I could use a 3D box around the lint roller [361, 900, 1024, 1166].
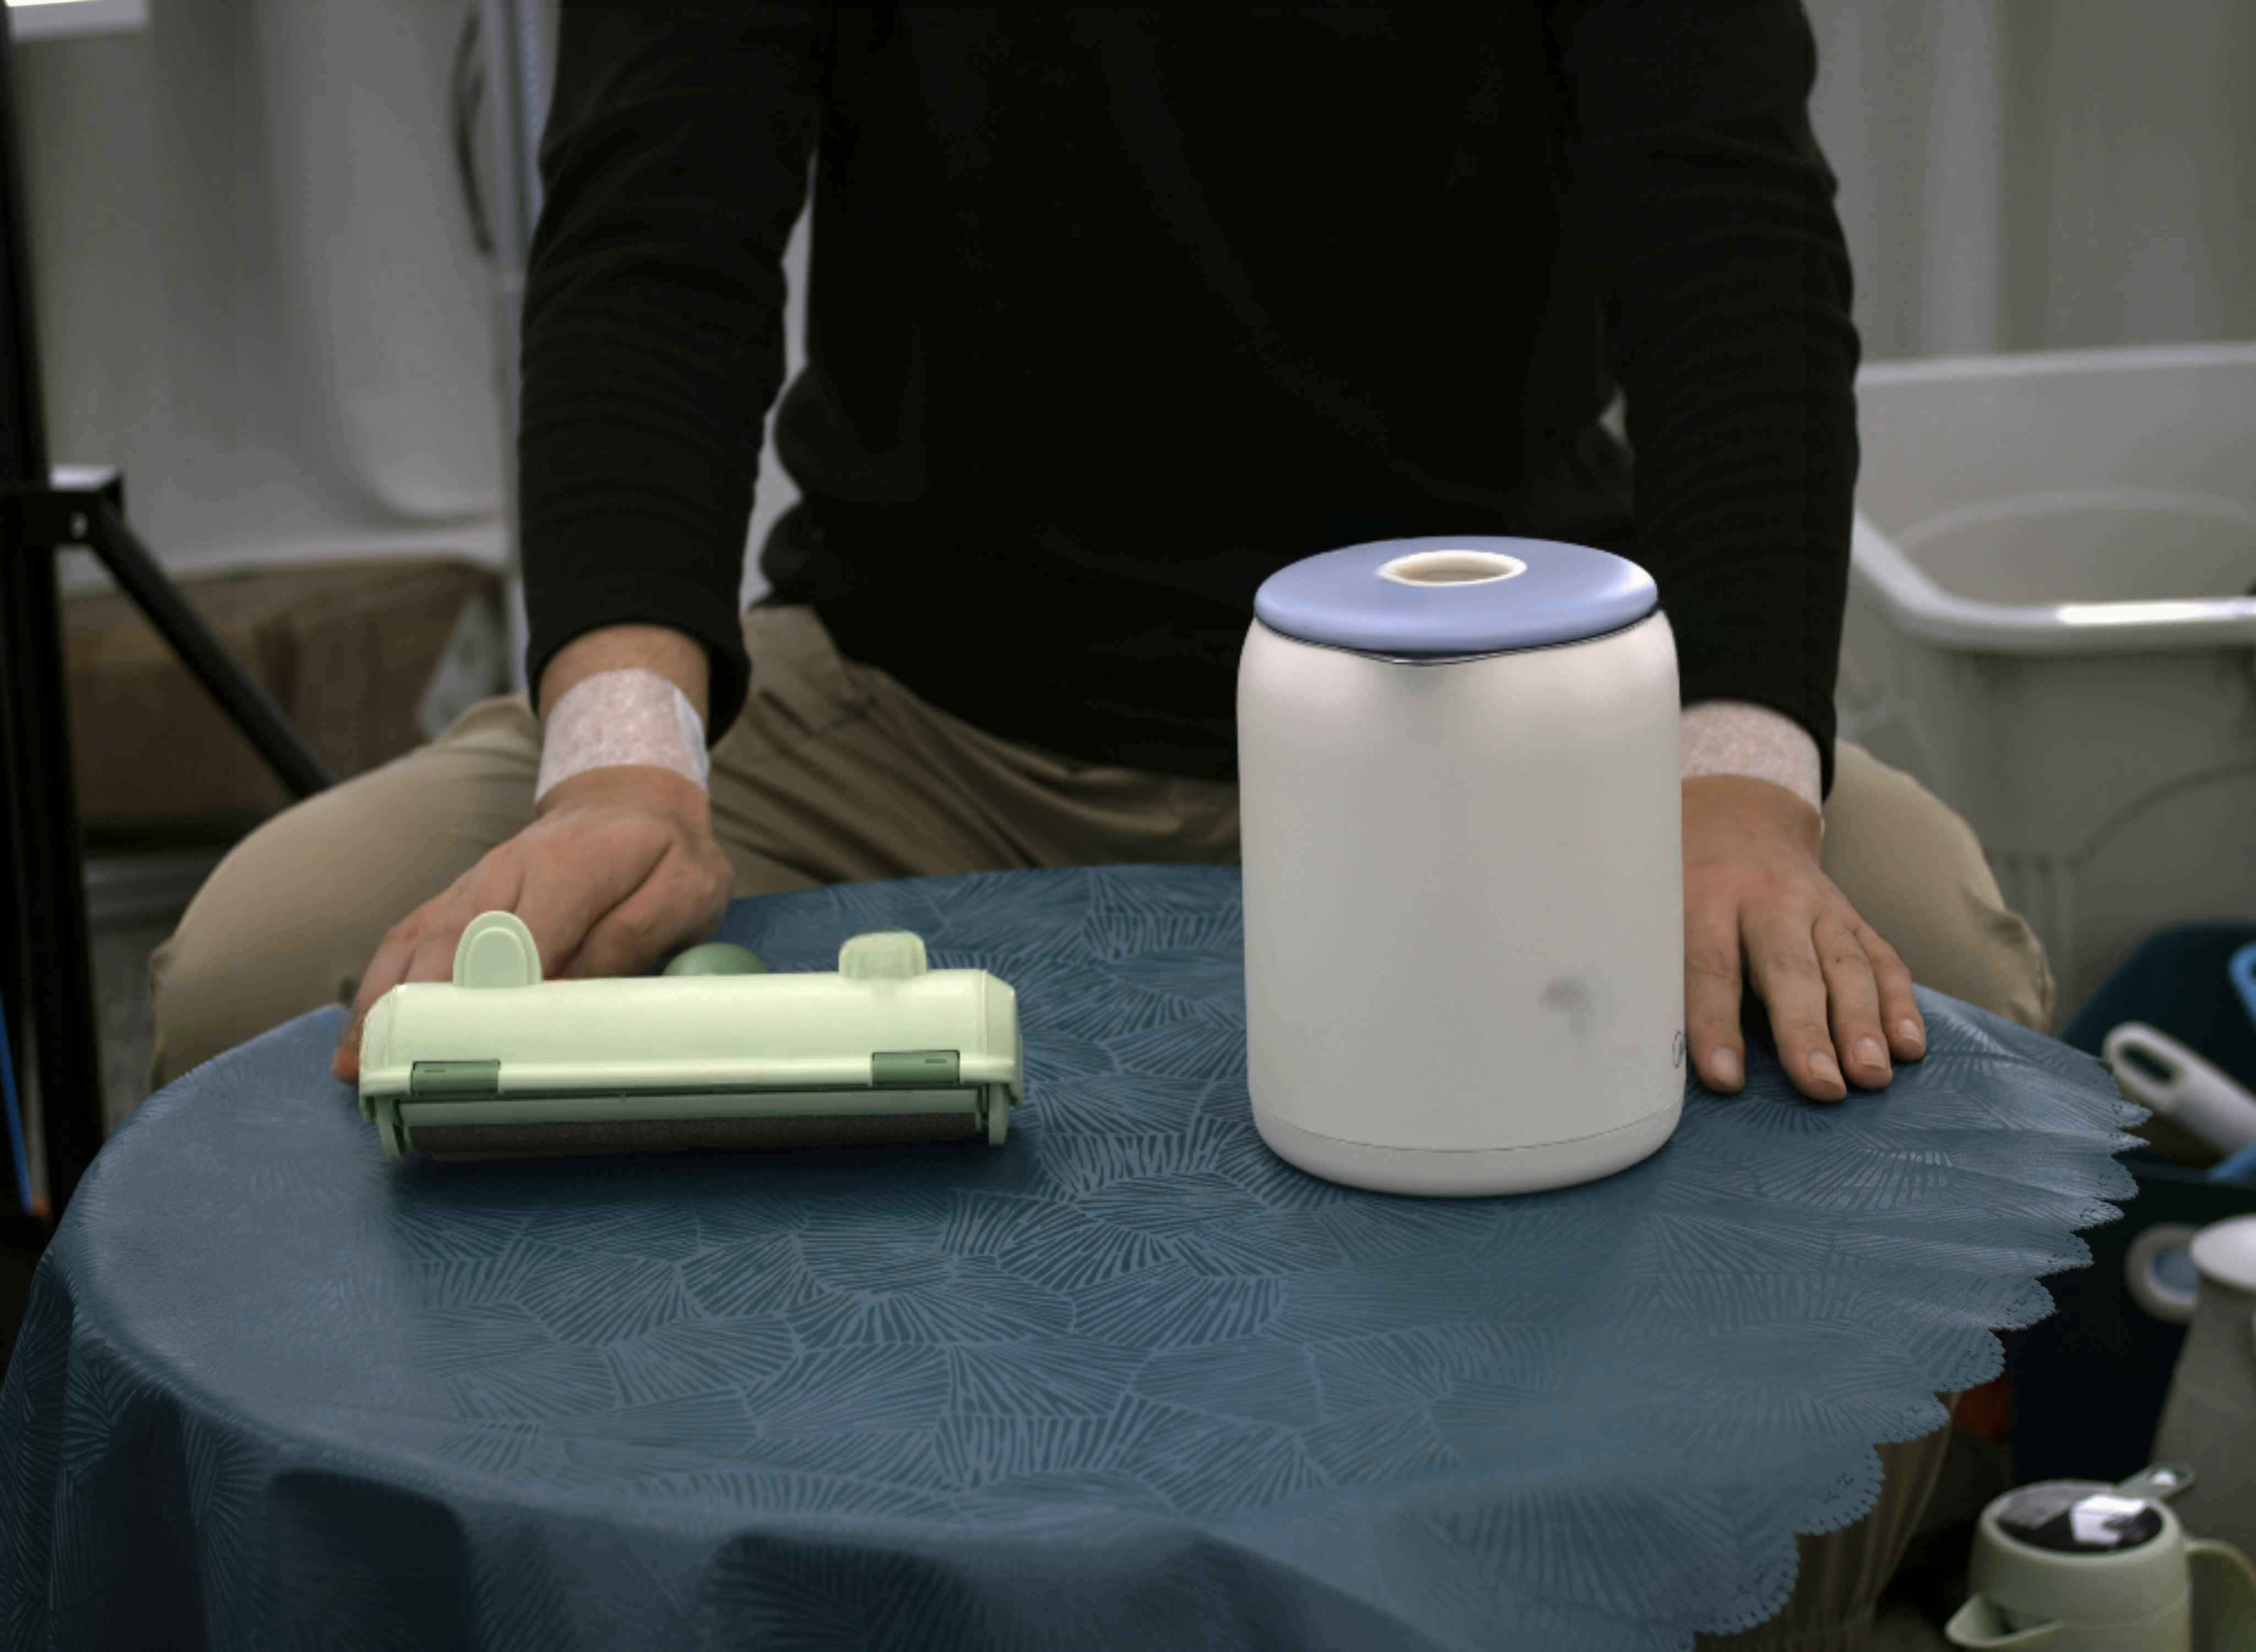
[{"bbox_3d":[-0.131,0.049,1.649,0.198,0.082,0.184,-1,18,1],"label":"lint roller"}]

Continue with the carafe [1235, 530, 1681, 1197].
[{"bbox_3d":[0.102,0.004,1.593,0.133,0.182,0.190,1,14,11],"label":"carafe"}]
